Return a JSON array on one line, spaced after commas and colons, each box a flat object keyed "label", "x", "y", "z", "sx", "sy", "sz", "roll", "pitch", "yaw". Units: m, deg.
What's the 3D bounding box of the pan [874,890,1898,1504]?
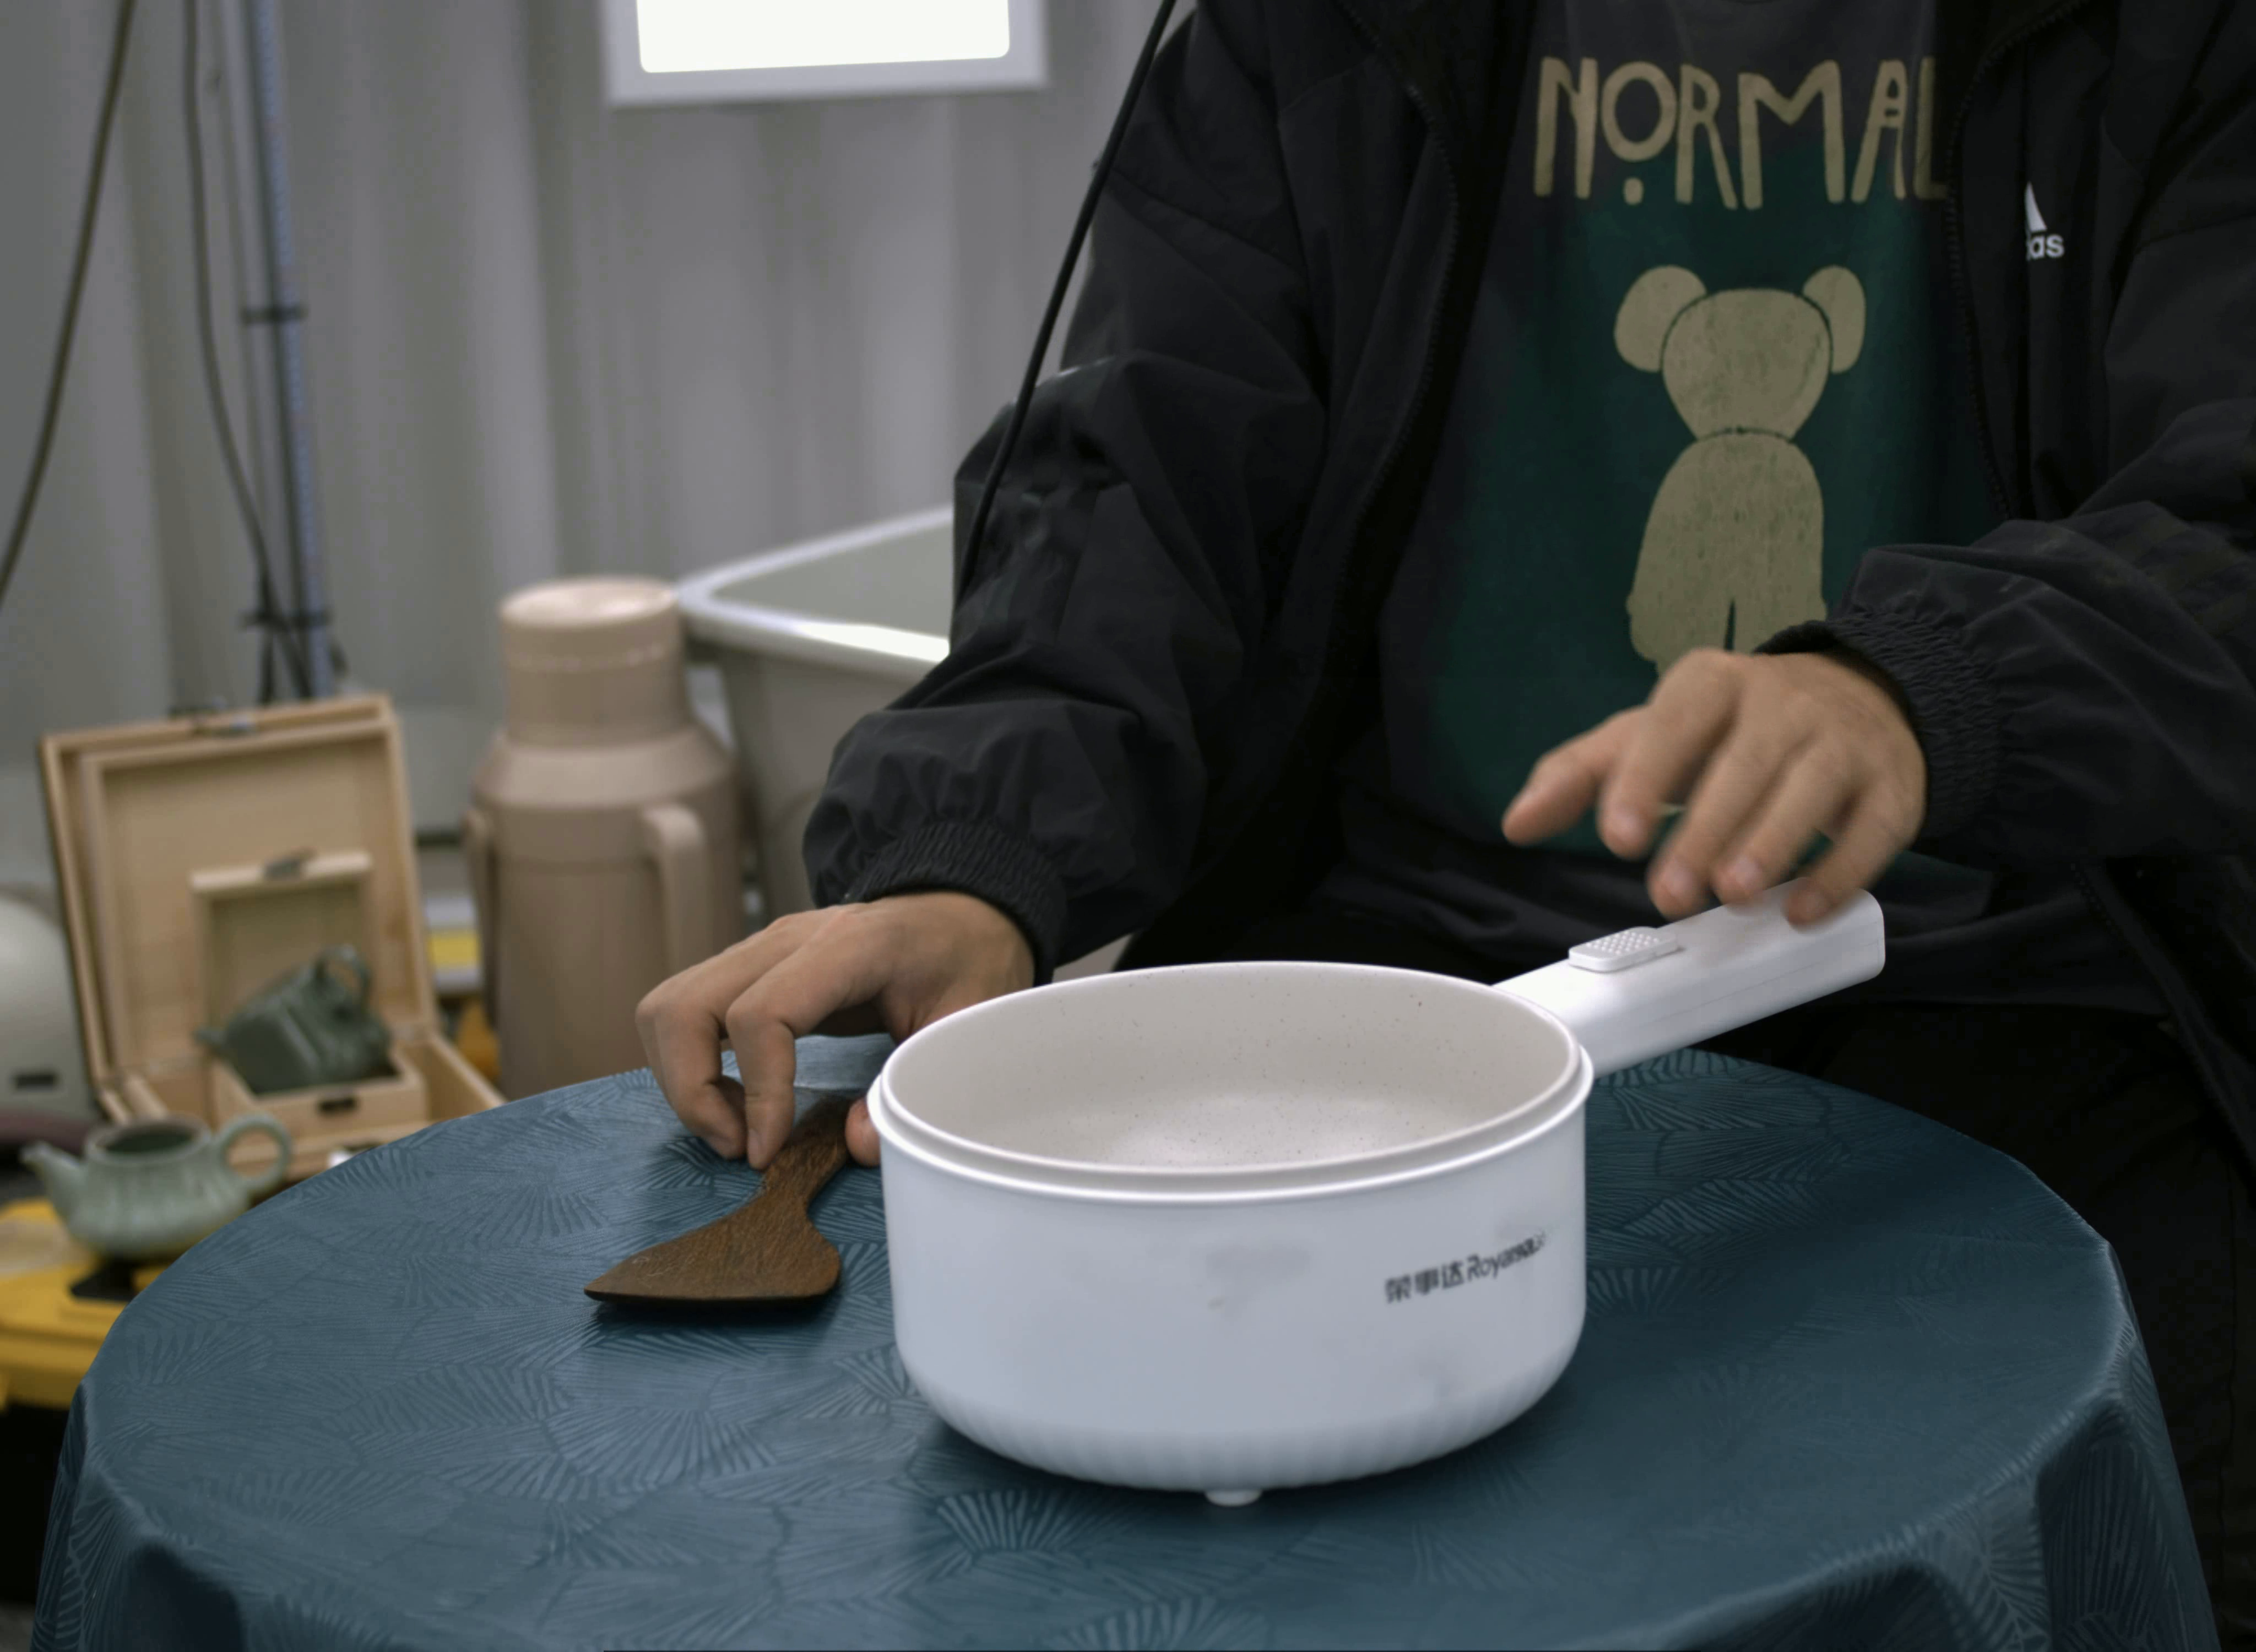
[{"label": "pan", "x": 0.089, "y": 0.099, "z": 1.569, "sx": 0.354, "sy": 0.102, "sz": 0.202, "roll": -14, "pitch": 18, "yaw": -40}]

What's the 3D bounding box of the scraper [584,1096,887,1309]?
[{"label": "scraper", "x": -0.109, "y": 0.117, "z": 1.710, "sx": 0.076, "sy": 0.011, "sz": 0.212, "roll": 1, "pitch": 14, "yaw": 10}]
